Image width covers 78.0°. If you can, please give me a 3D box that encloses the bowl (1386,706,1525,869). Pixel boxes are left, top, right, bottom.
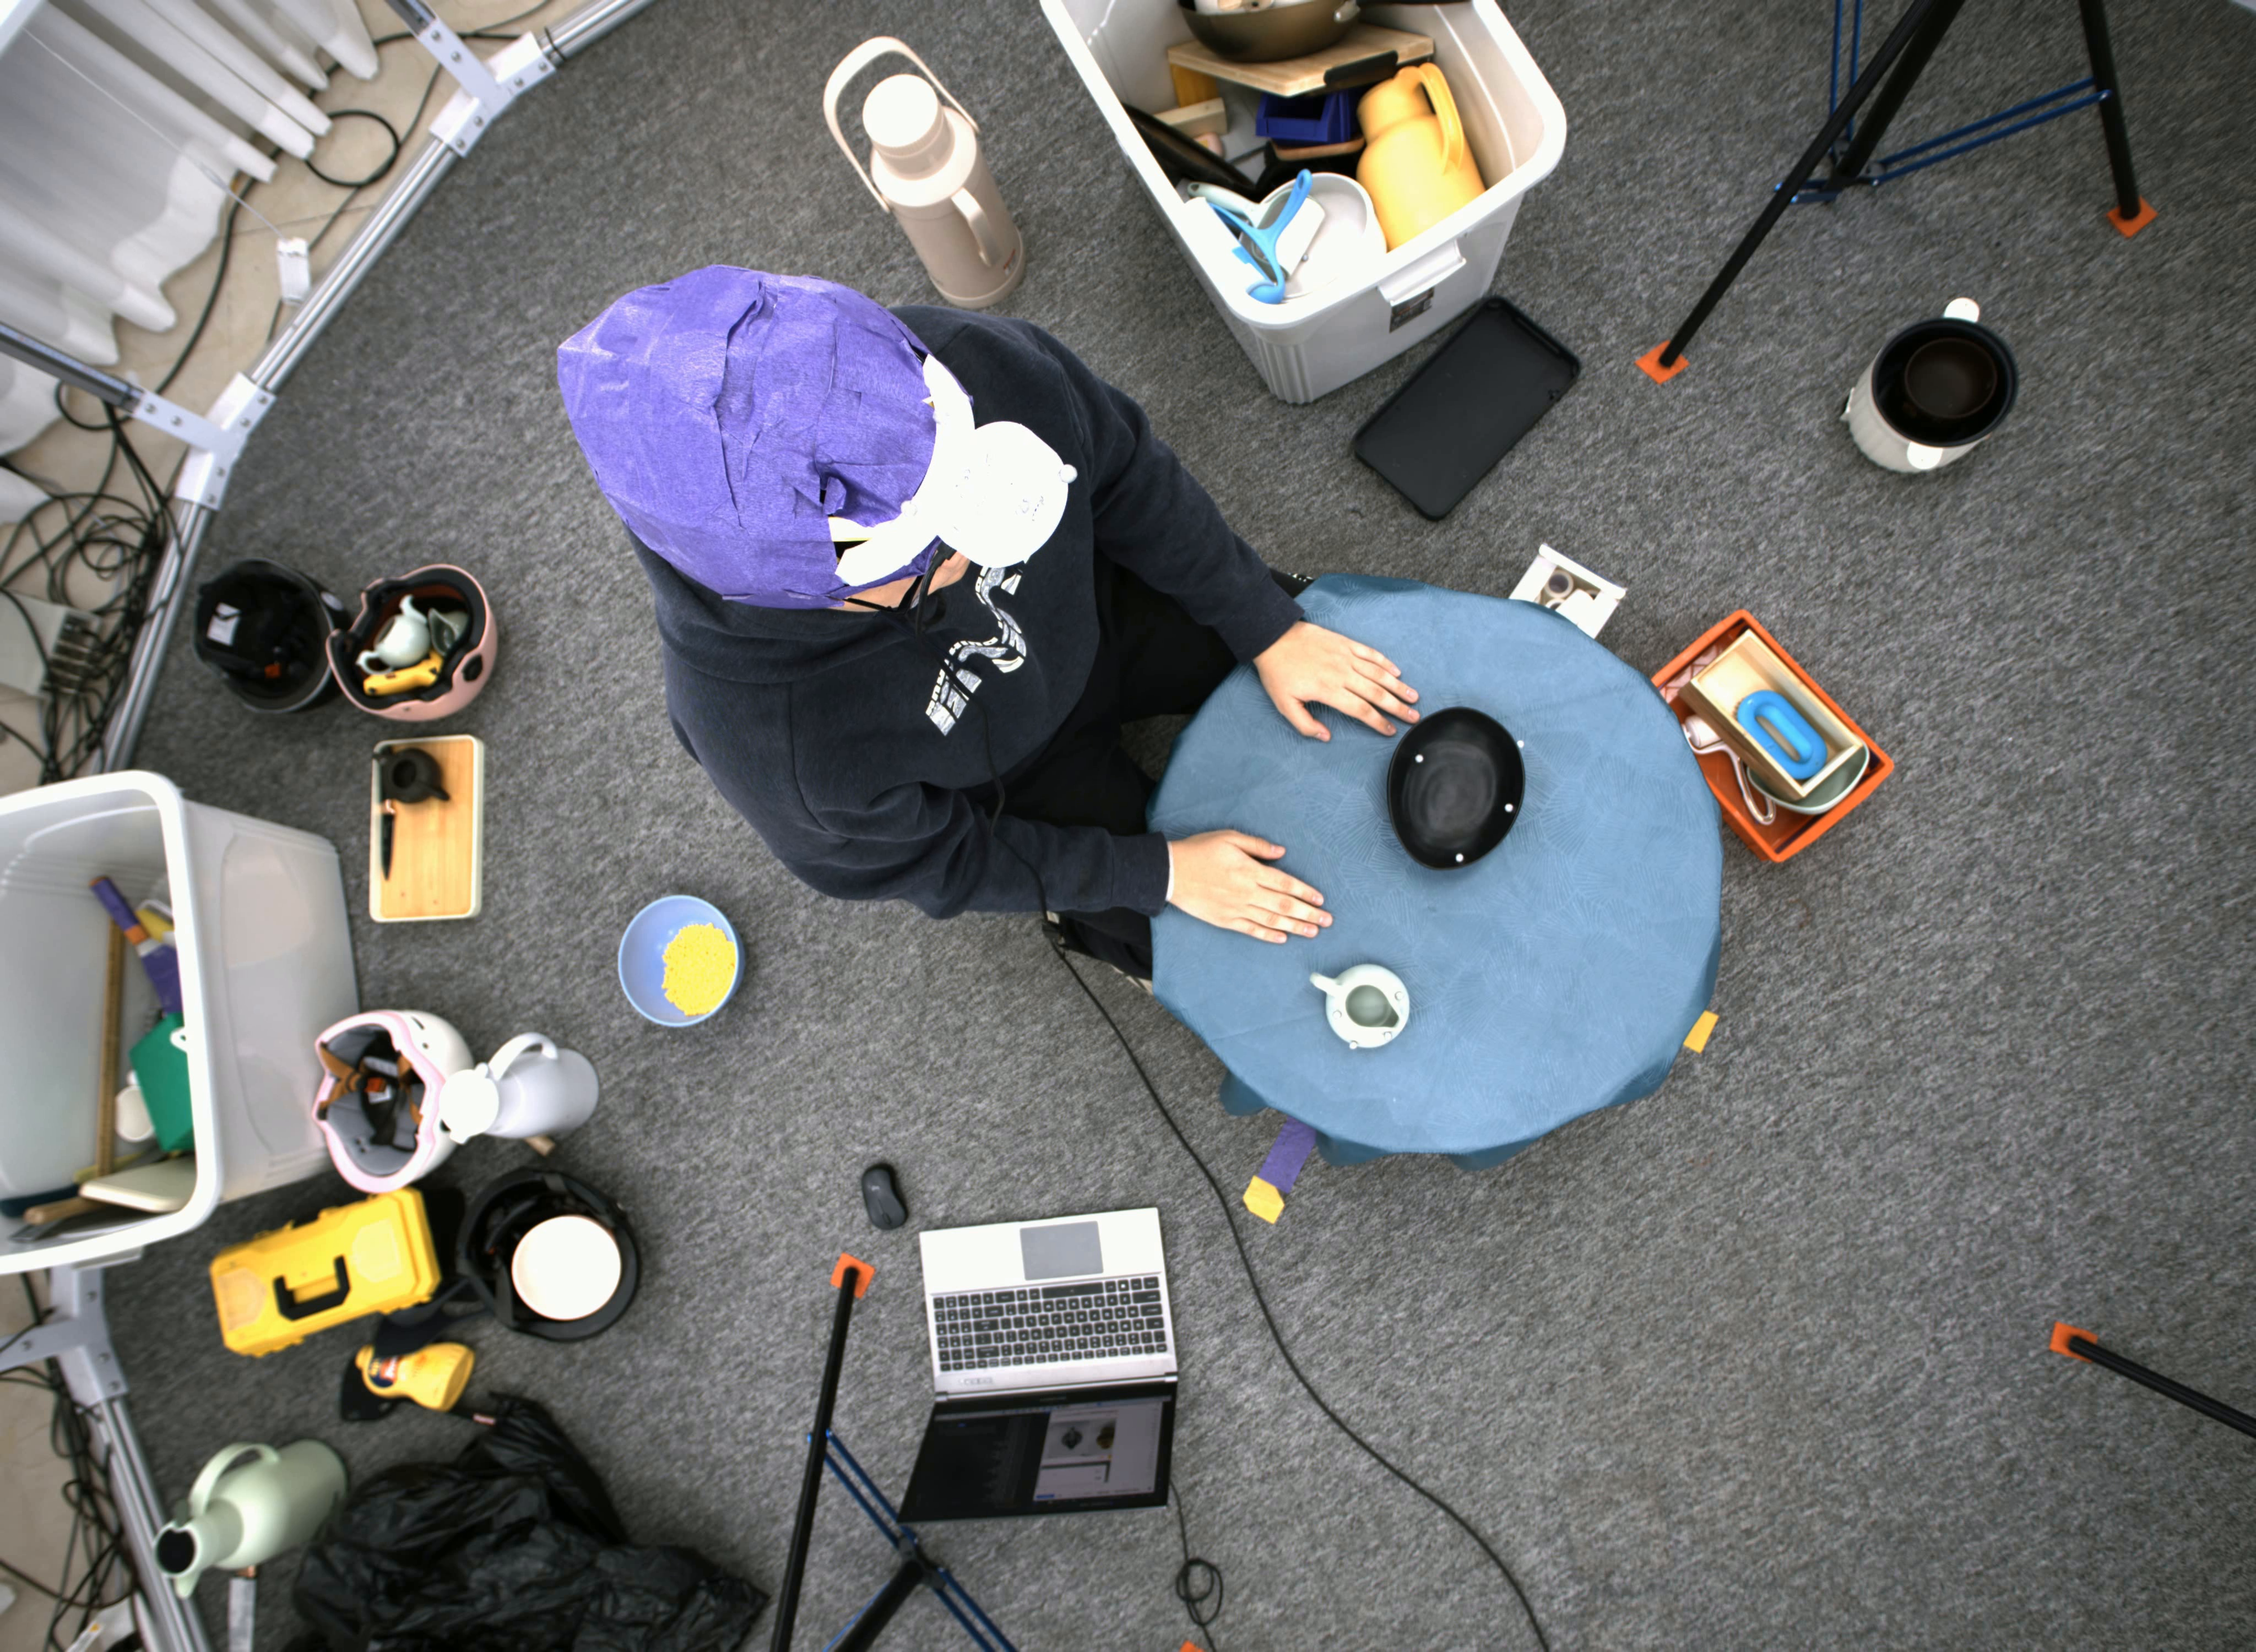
[{"bbox_3d":[0.337,-0.039,1.423,0.137,0.066,0.170,12,89,12],"label":"bowl"}]

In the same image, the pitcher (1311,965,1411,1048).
[{"bbox_3d":[0.239,0.180,1.432,0.108,0.060,0.086,25,89,14],"label":"pitcher"}]
